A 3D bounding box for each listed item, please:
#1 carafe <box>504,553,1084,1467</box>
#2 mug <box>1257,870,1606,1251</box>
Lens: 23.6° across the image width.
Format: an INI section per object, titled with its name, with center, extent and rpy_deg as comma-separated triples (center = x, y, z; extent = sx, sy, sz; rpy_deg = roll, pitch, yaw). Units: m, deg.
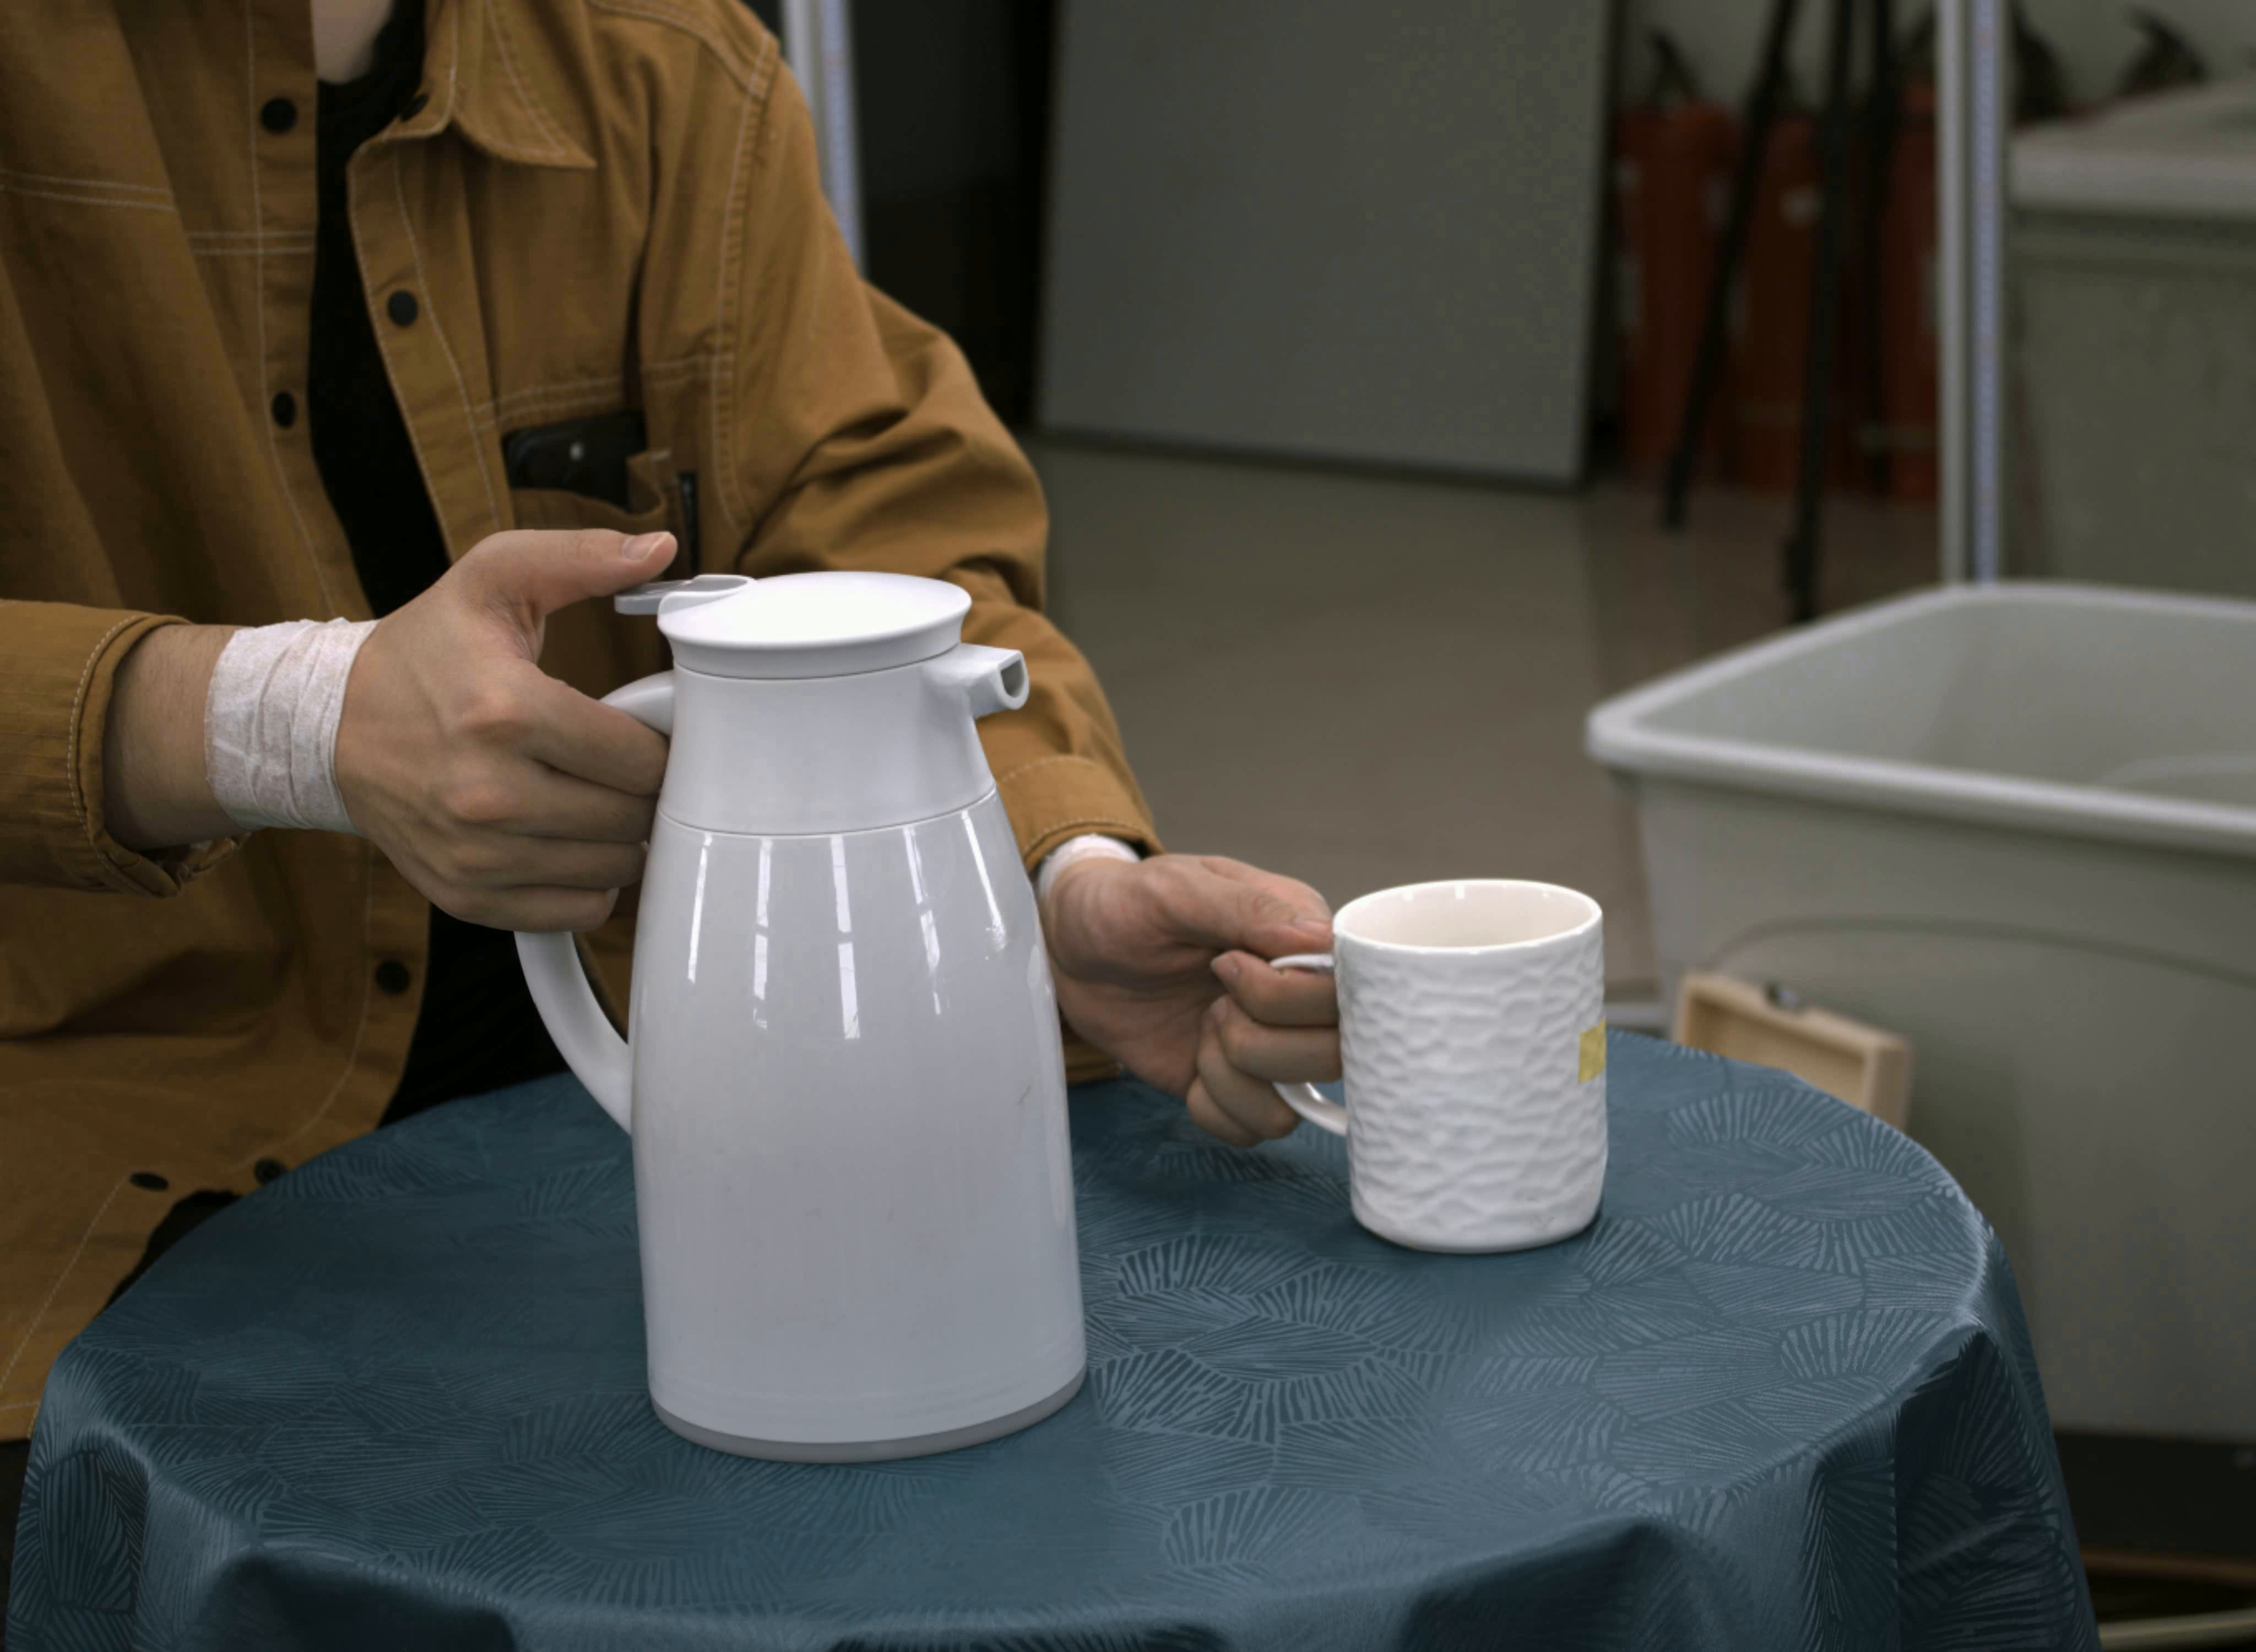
[carafe]
center = -0.103, 0.047, 1.586
extent = 0.167, 0.251, 0.131
rpy_deg = 1, 15, 21
[mug]
center = 0.096, 0.073, 1.720
extent = 0.118, 0.103, 0.083
rpy_deg = 4, 15, 29
